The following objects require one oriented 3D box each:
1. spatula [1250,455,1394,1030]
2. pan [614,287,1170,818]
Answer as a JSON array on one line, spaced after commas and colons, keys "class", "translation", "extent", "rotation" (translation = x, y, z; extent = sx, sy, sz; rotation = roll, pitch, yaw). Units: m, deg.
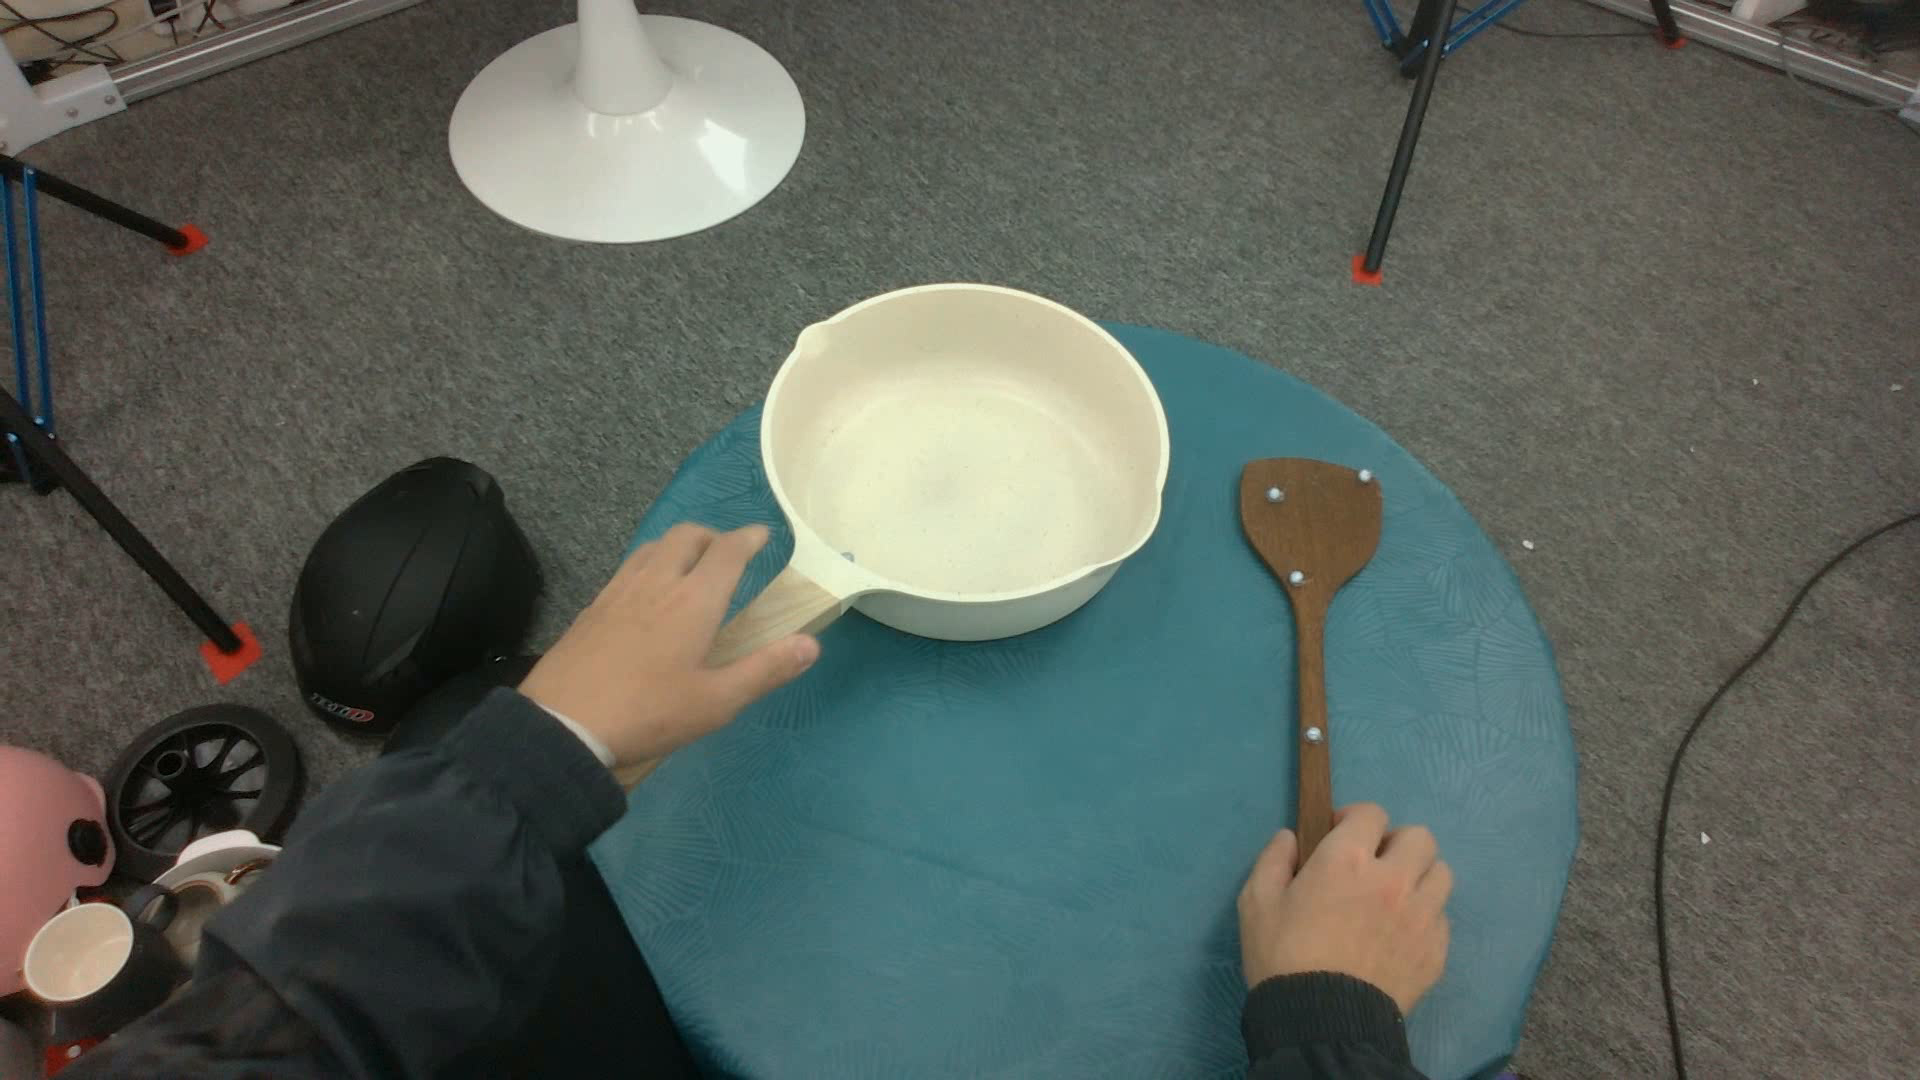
[{"class": "spatula", "translation": [0.224, 0.099, 0.832], "extent": [0.096, 0.016, 0.388], "rotation": [5, 54, 4]}, {"class": "pan", "translation": [-0.048, 0.013, 0.838], "extent": [0.263, 0.101, 0.437], "rotation": [31, 60, 18]}]
